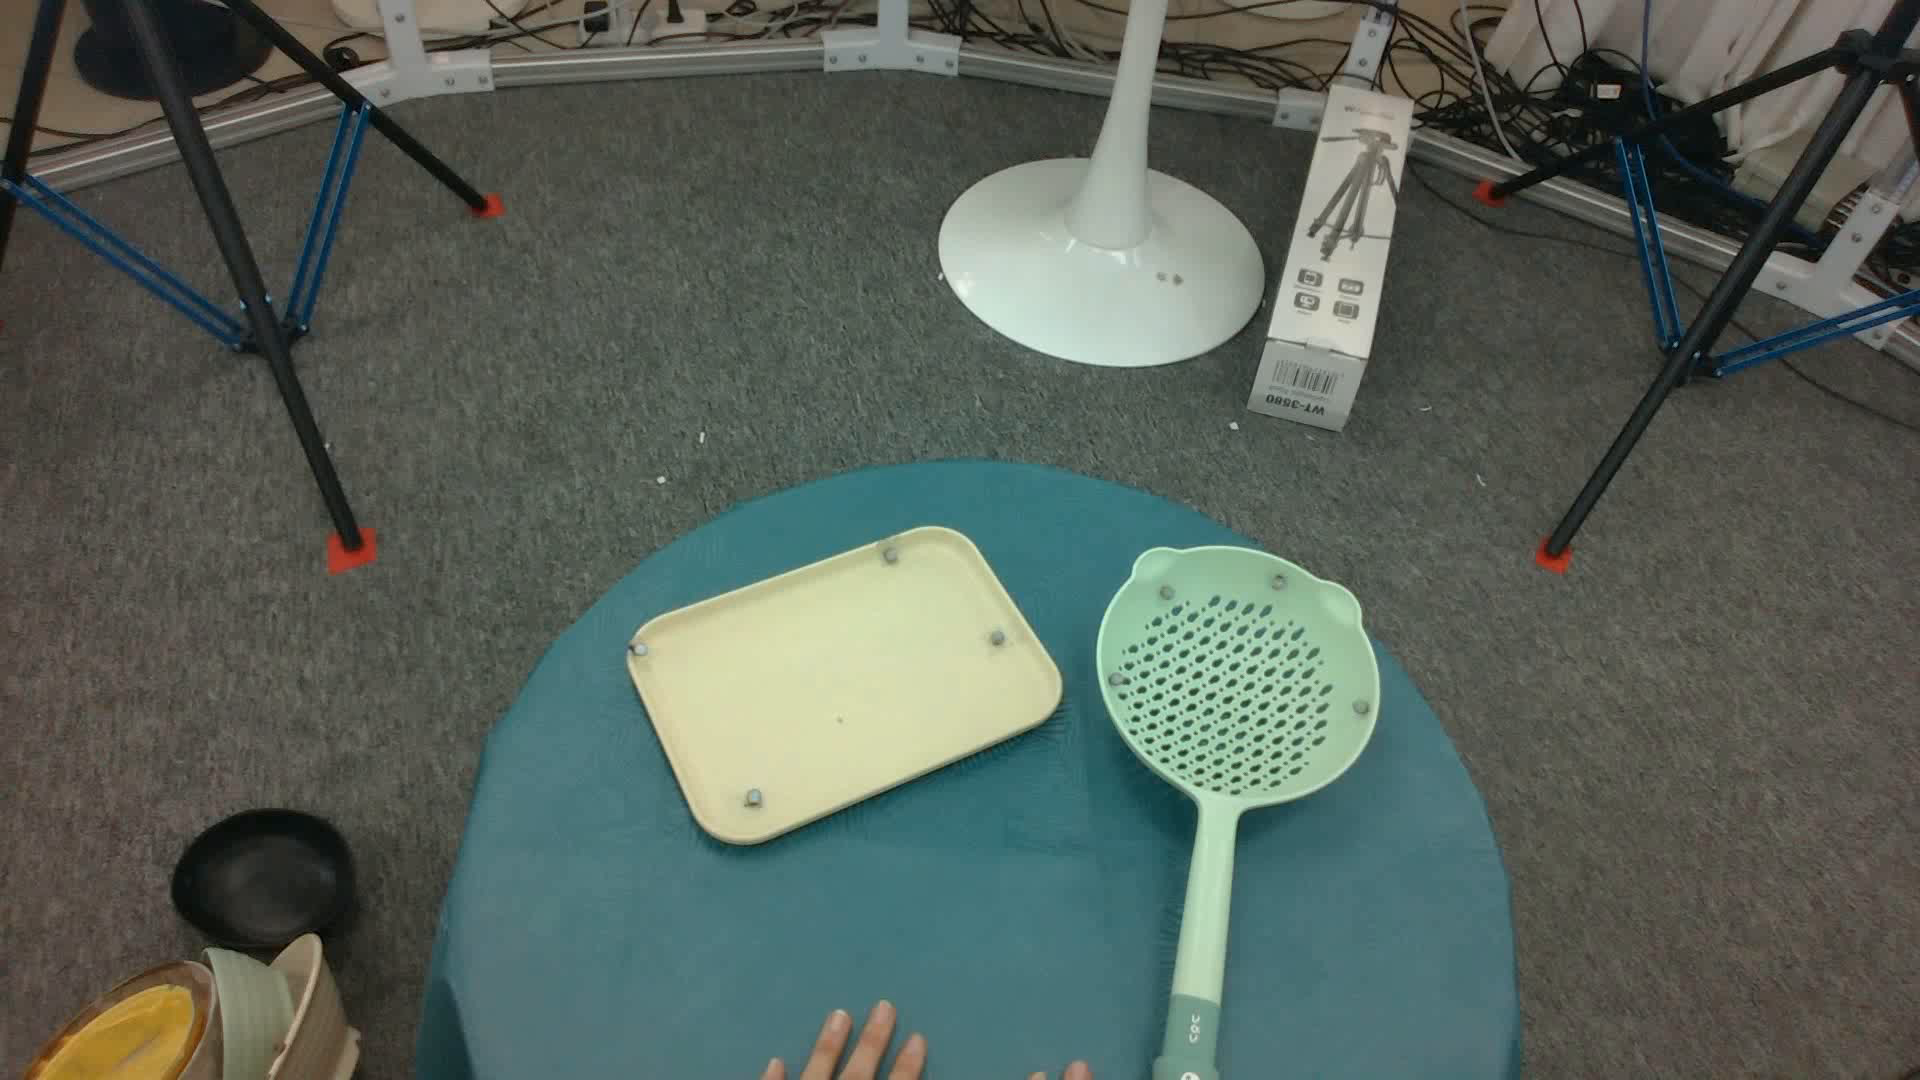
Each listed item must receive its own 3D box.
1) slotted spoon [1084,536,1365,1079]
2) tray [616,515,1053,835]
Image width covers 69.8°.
[{"bbox_3d":[0.136,0.156,0.778,0.169,0.075,0.360,12,50,4],"label":"slotted spoon"},{"bbox_3d":[-0.077,0.077,0.848,0.240,0.017,0.171,-20,54,-21],"label":"tray"}]
